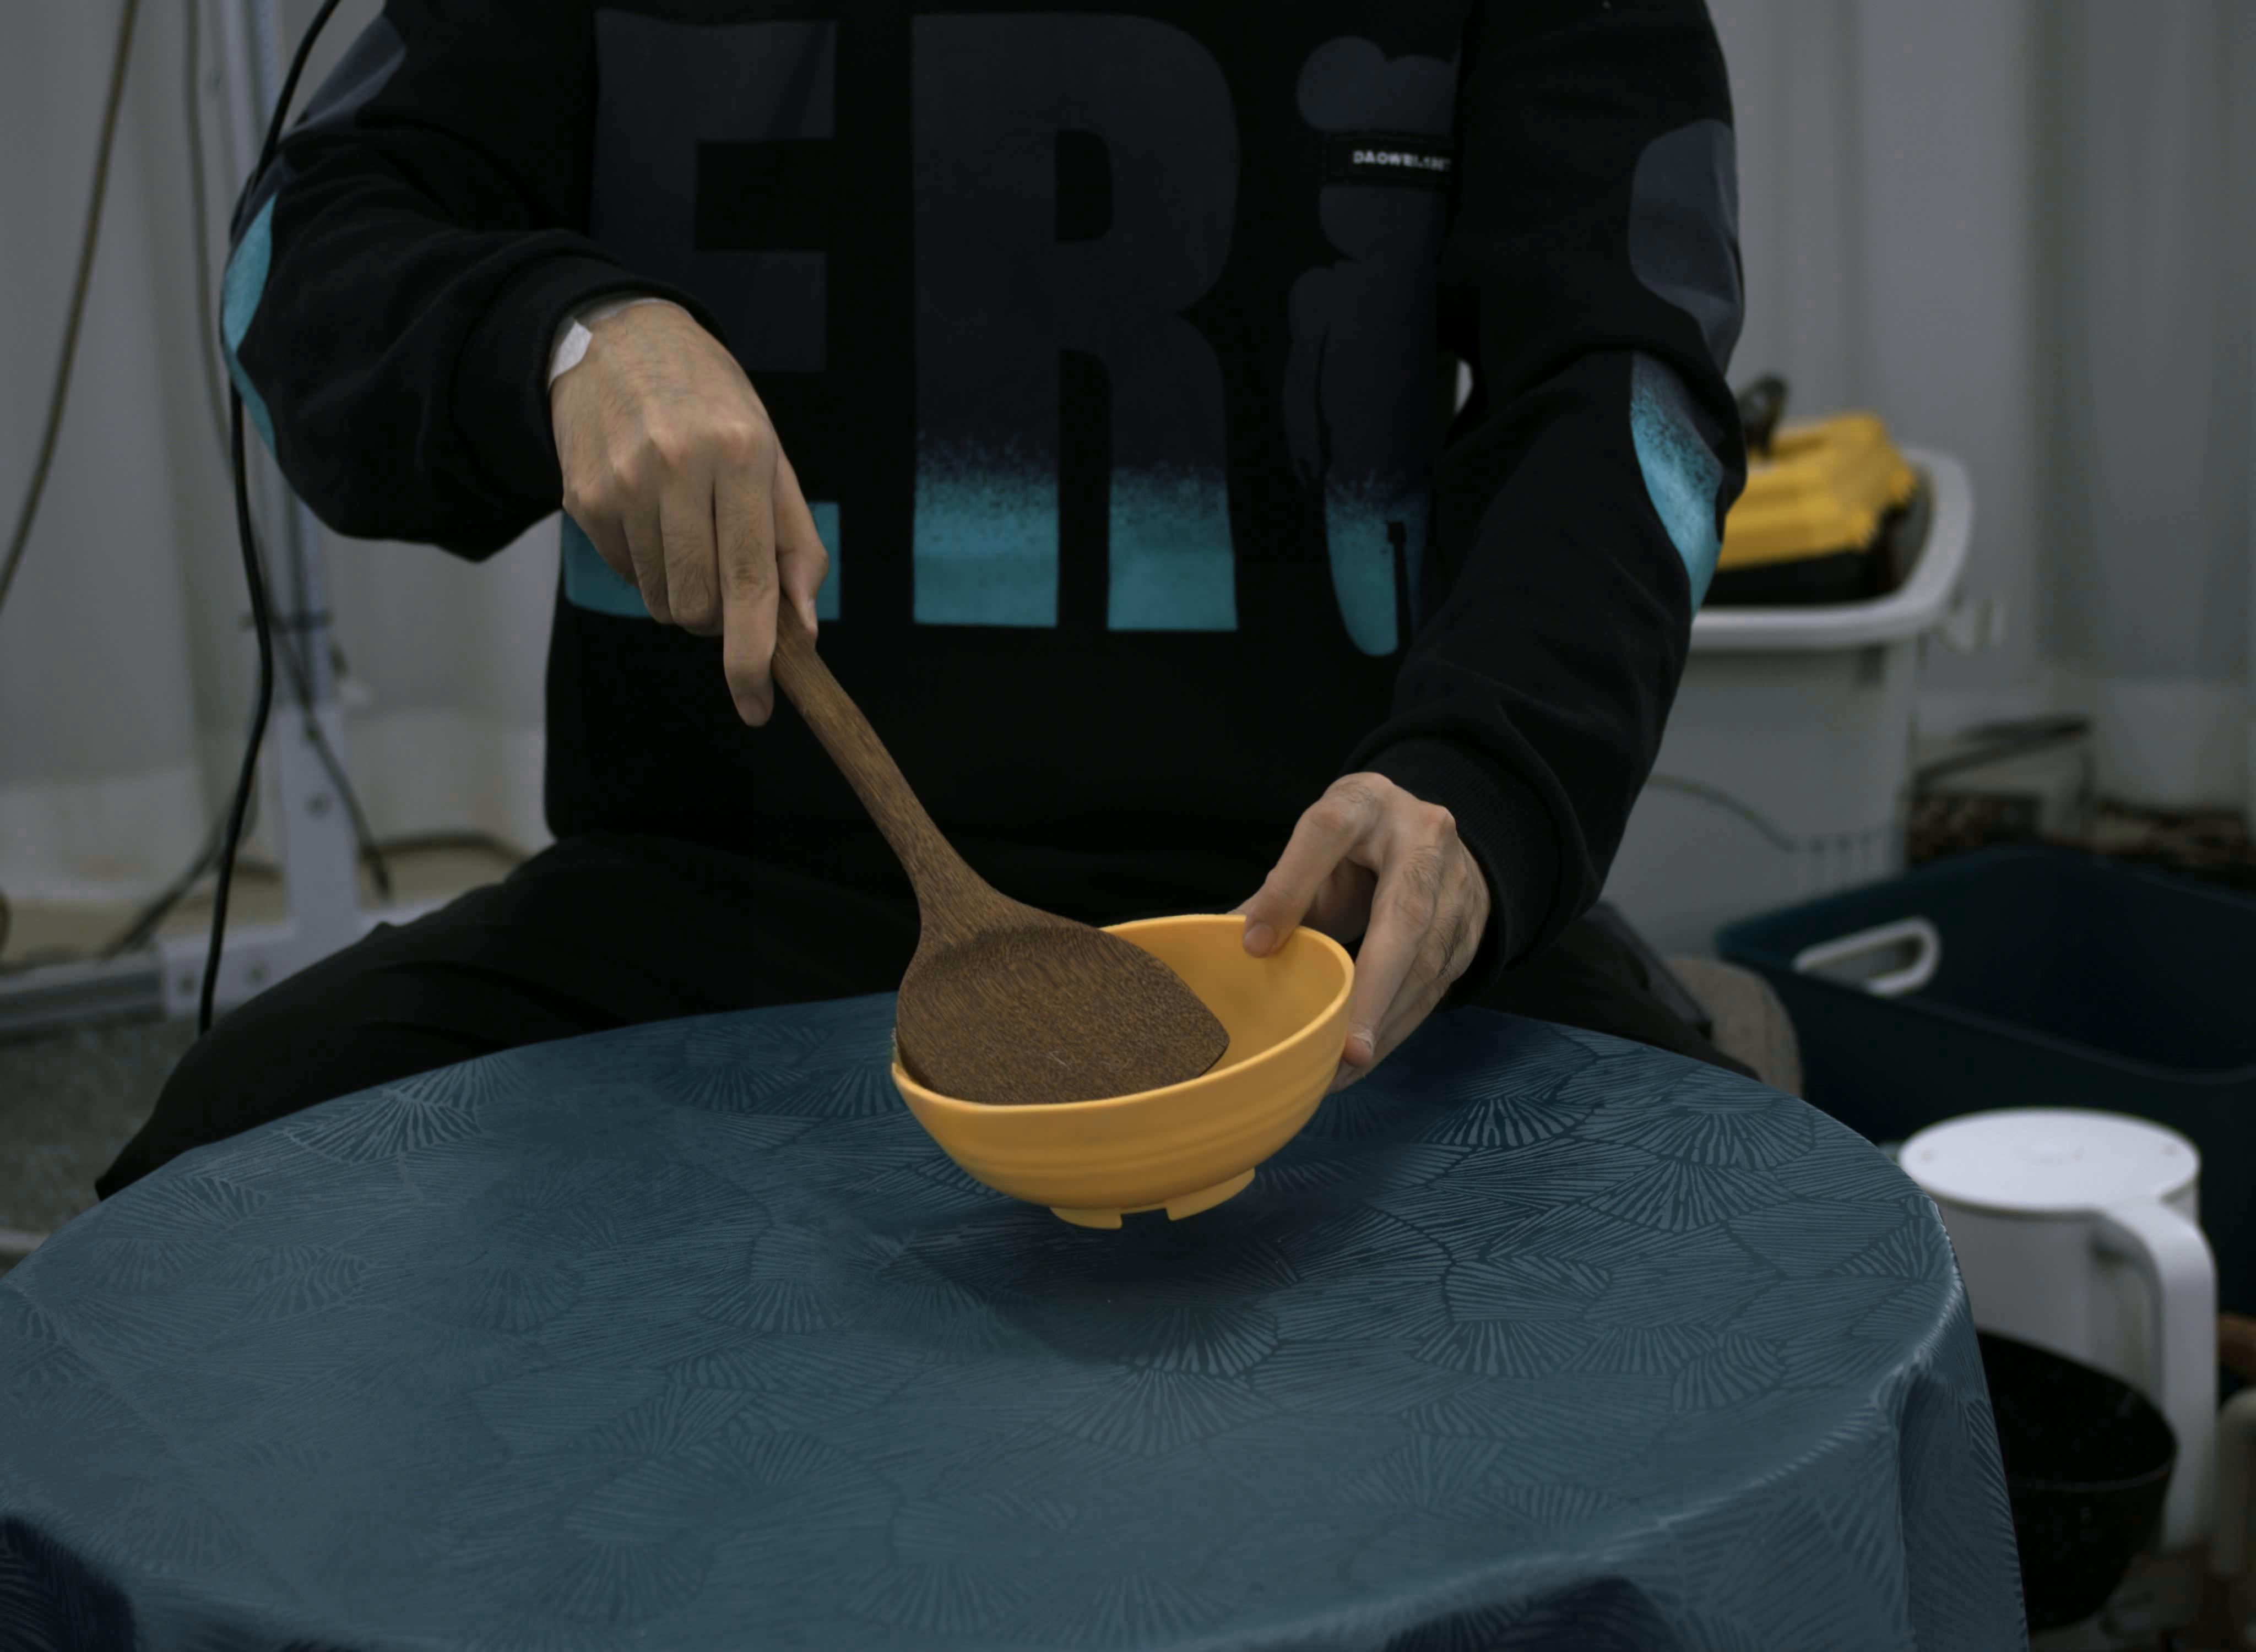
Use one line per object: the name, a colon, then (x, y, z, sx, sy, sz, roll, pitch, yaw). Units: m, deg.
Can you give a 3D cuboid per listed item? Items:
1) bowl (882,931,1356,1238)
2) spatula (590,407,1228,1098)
bowl: (0.001, 0.085, 1.657, 0.145, 0.060, 0.146, -7, 18, 2)
spatula: (-0.091, -0.028, 1.758, 0.096, 0.015, 0.391, -15, 44, -23)
